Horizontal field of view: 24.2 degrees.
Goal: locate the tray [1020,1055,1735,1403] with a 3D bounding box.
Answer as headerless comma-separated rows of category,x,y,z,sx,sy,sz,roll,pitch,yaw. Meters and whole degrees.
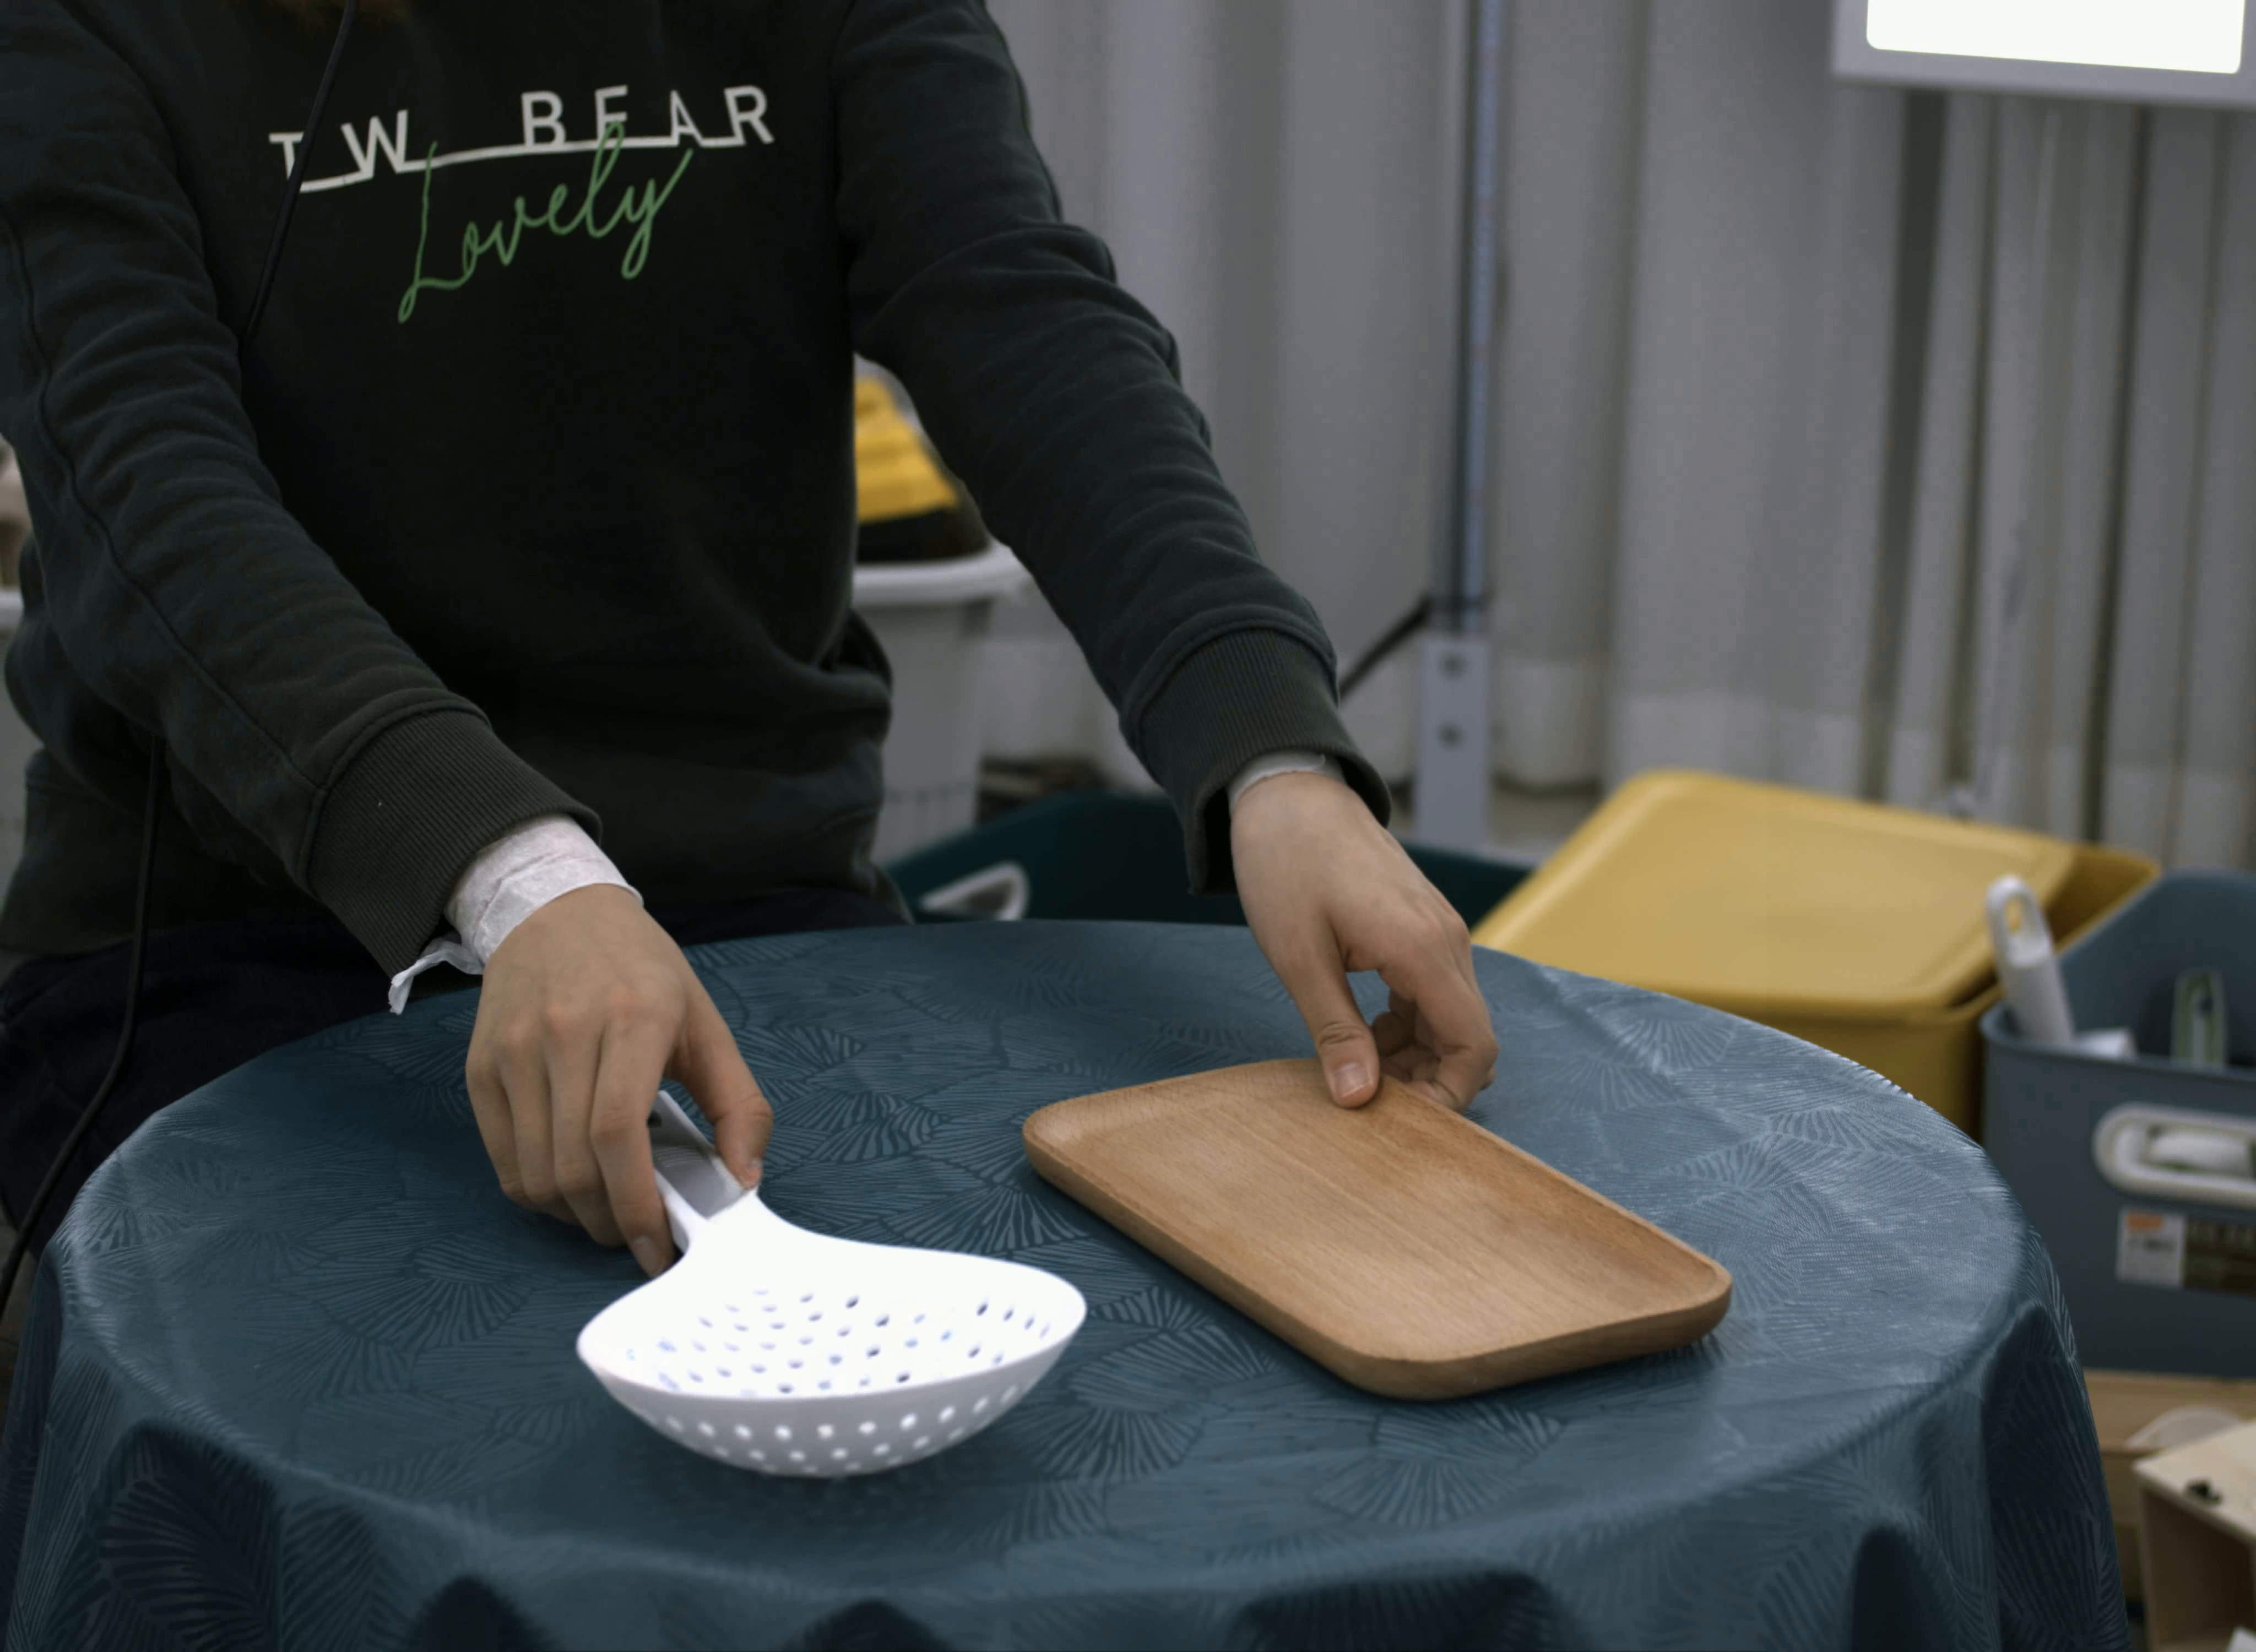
tray,0.070,0.118,1.576,0.131,0.023,0.247,-7,17,-26

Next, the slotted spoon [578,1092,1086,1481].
slotted spoon,-0.109,0.122,1.505,0.136,0.046,0.346,-4,16,-16
